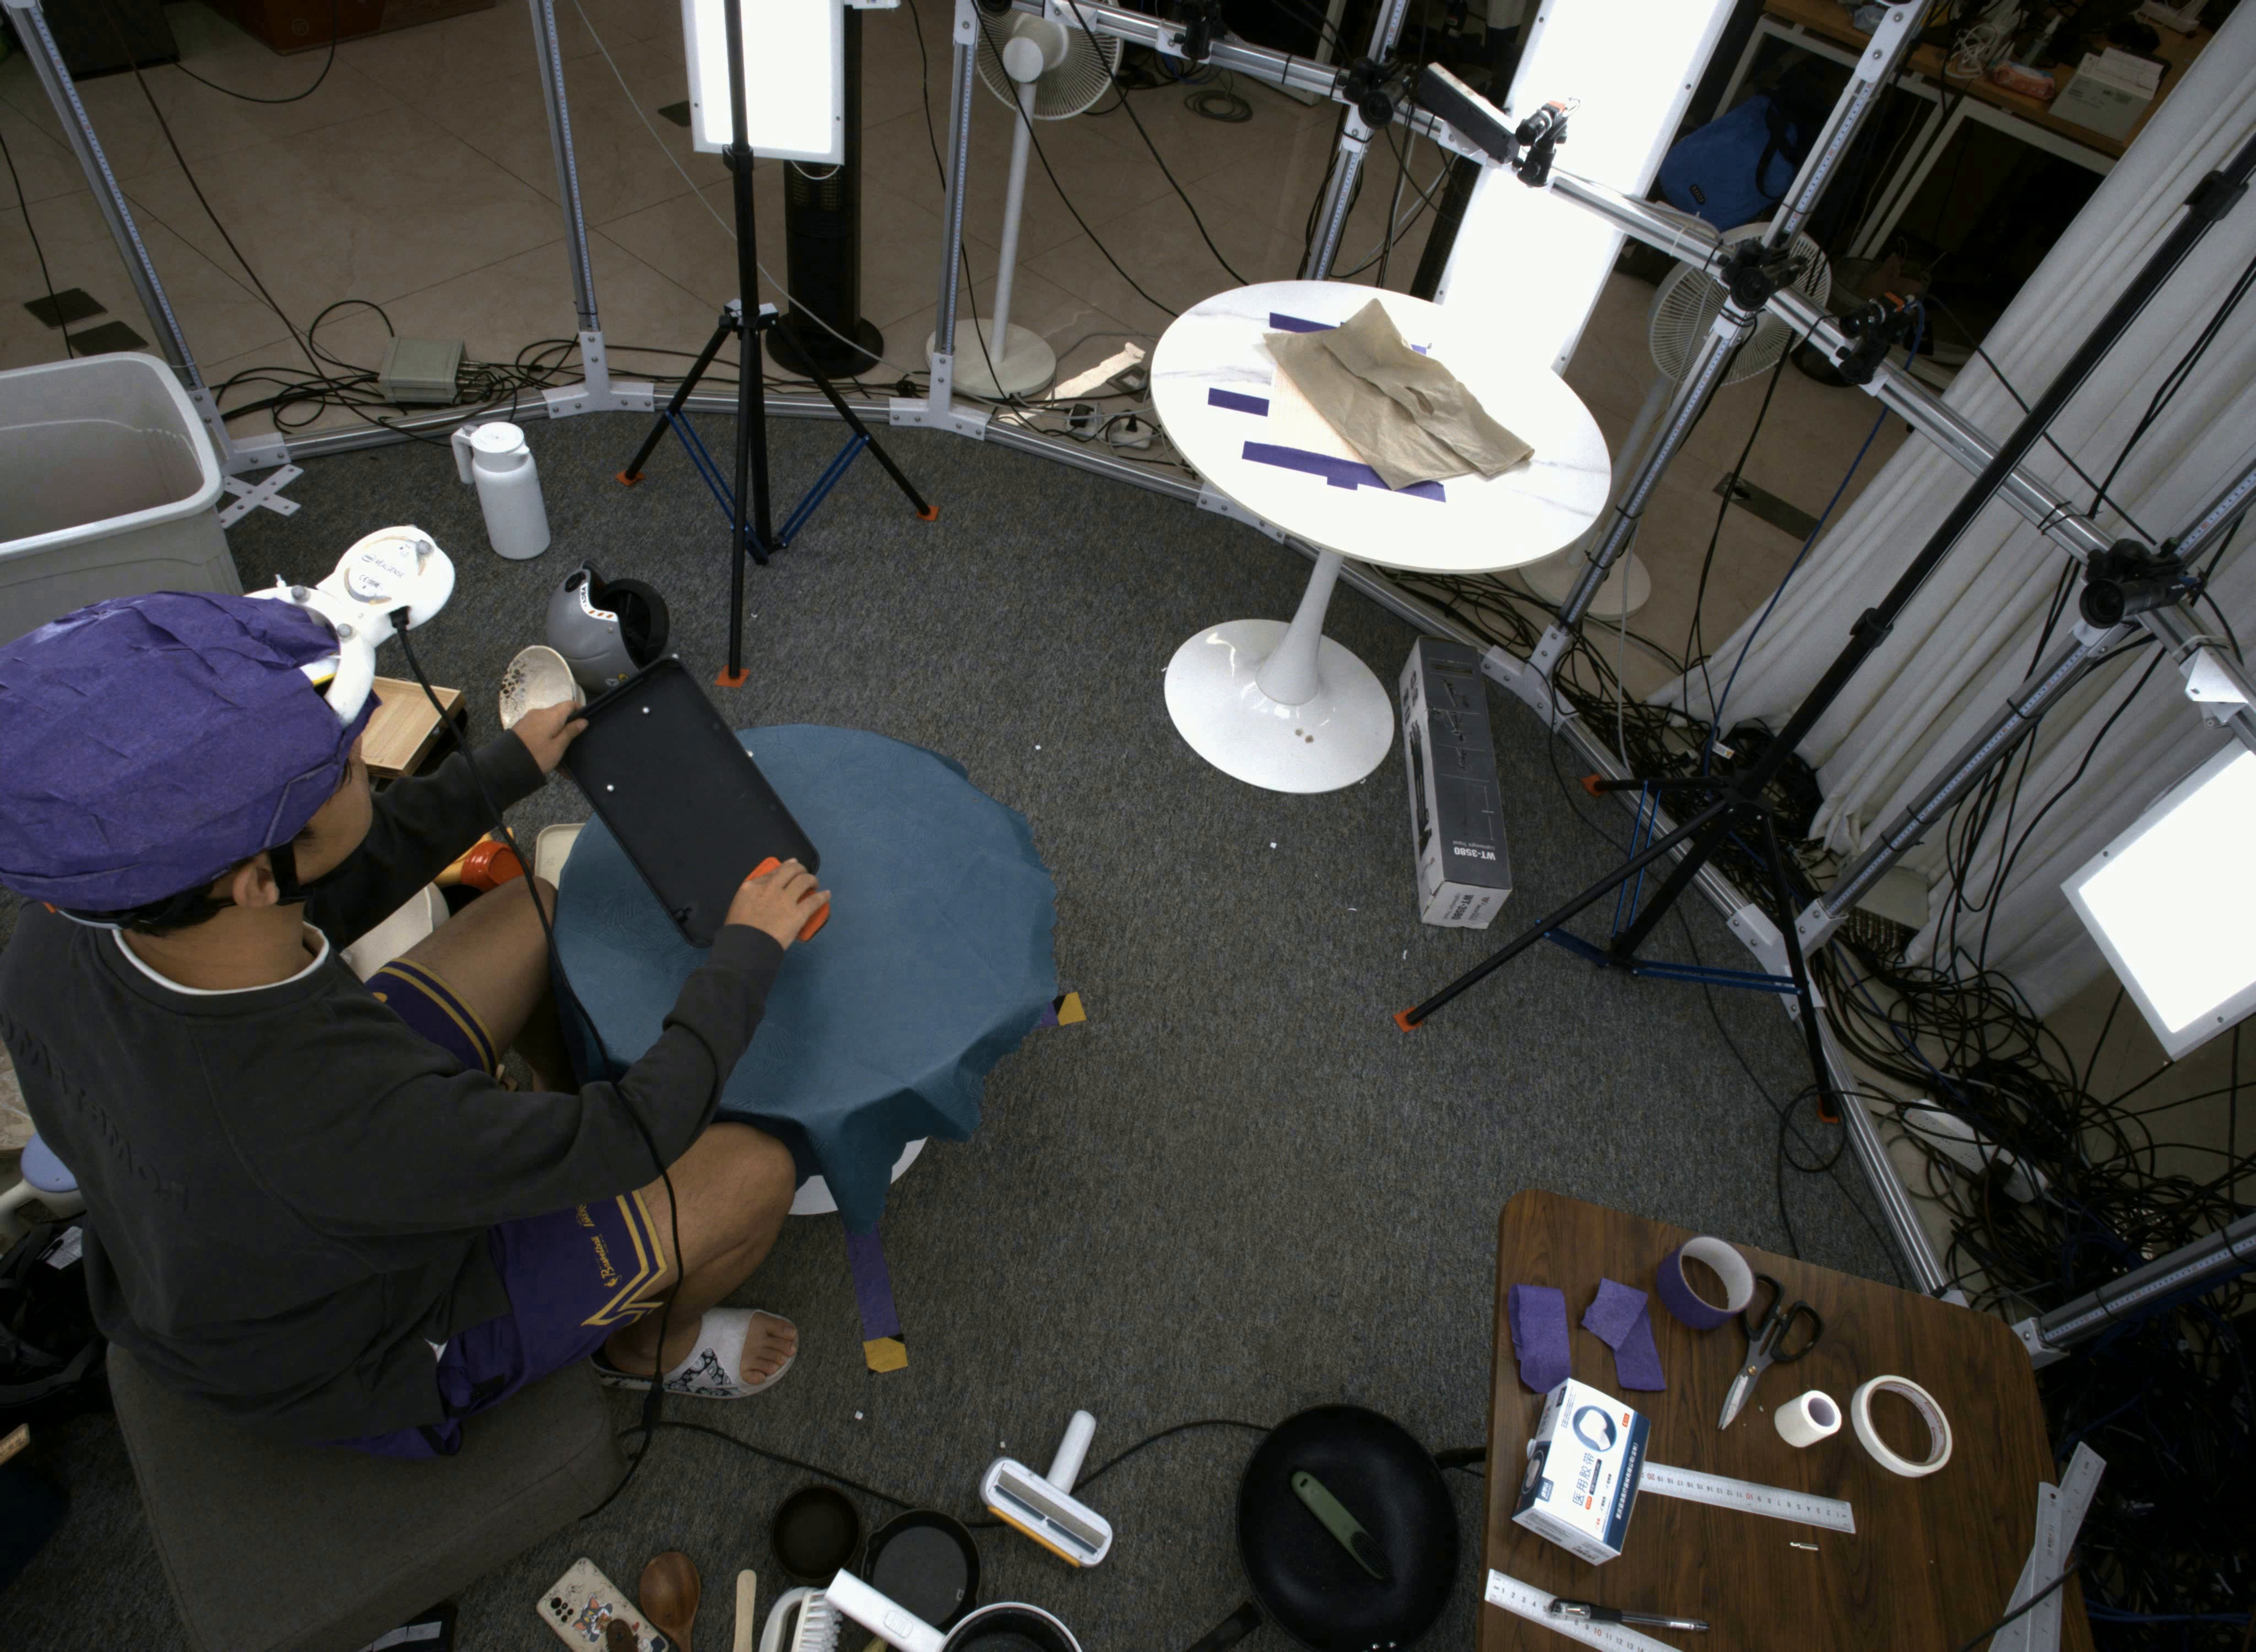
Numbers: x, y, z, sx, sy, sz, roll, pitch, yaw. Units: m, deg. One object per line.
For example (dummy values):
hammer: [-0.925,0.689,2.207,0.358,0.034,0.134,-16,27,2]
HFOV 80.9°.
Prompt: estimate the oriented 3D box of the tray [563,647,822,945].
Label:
tray: [-0.520,-0.036,1.523,0.184,0.037,0.320,-37,94,-9]

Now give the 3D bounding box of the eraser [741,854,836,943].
eraser: [-0.393,0.082,1.500,0.105,0.023,0.059,36,81,17]
